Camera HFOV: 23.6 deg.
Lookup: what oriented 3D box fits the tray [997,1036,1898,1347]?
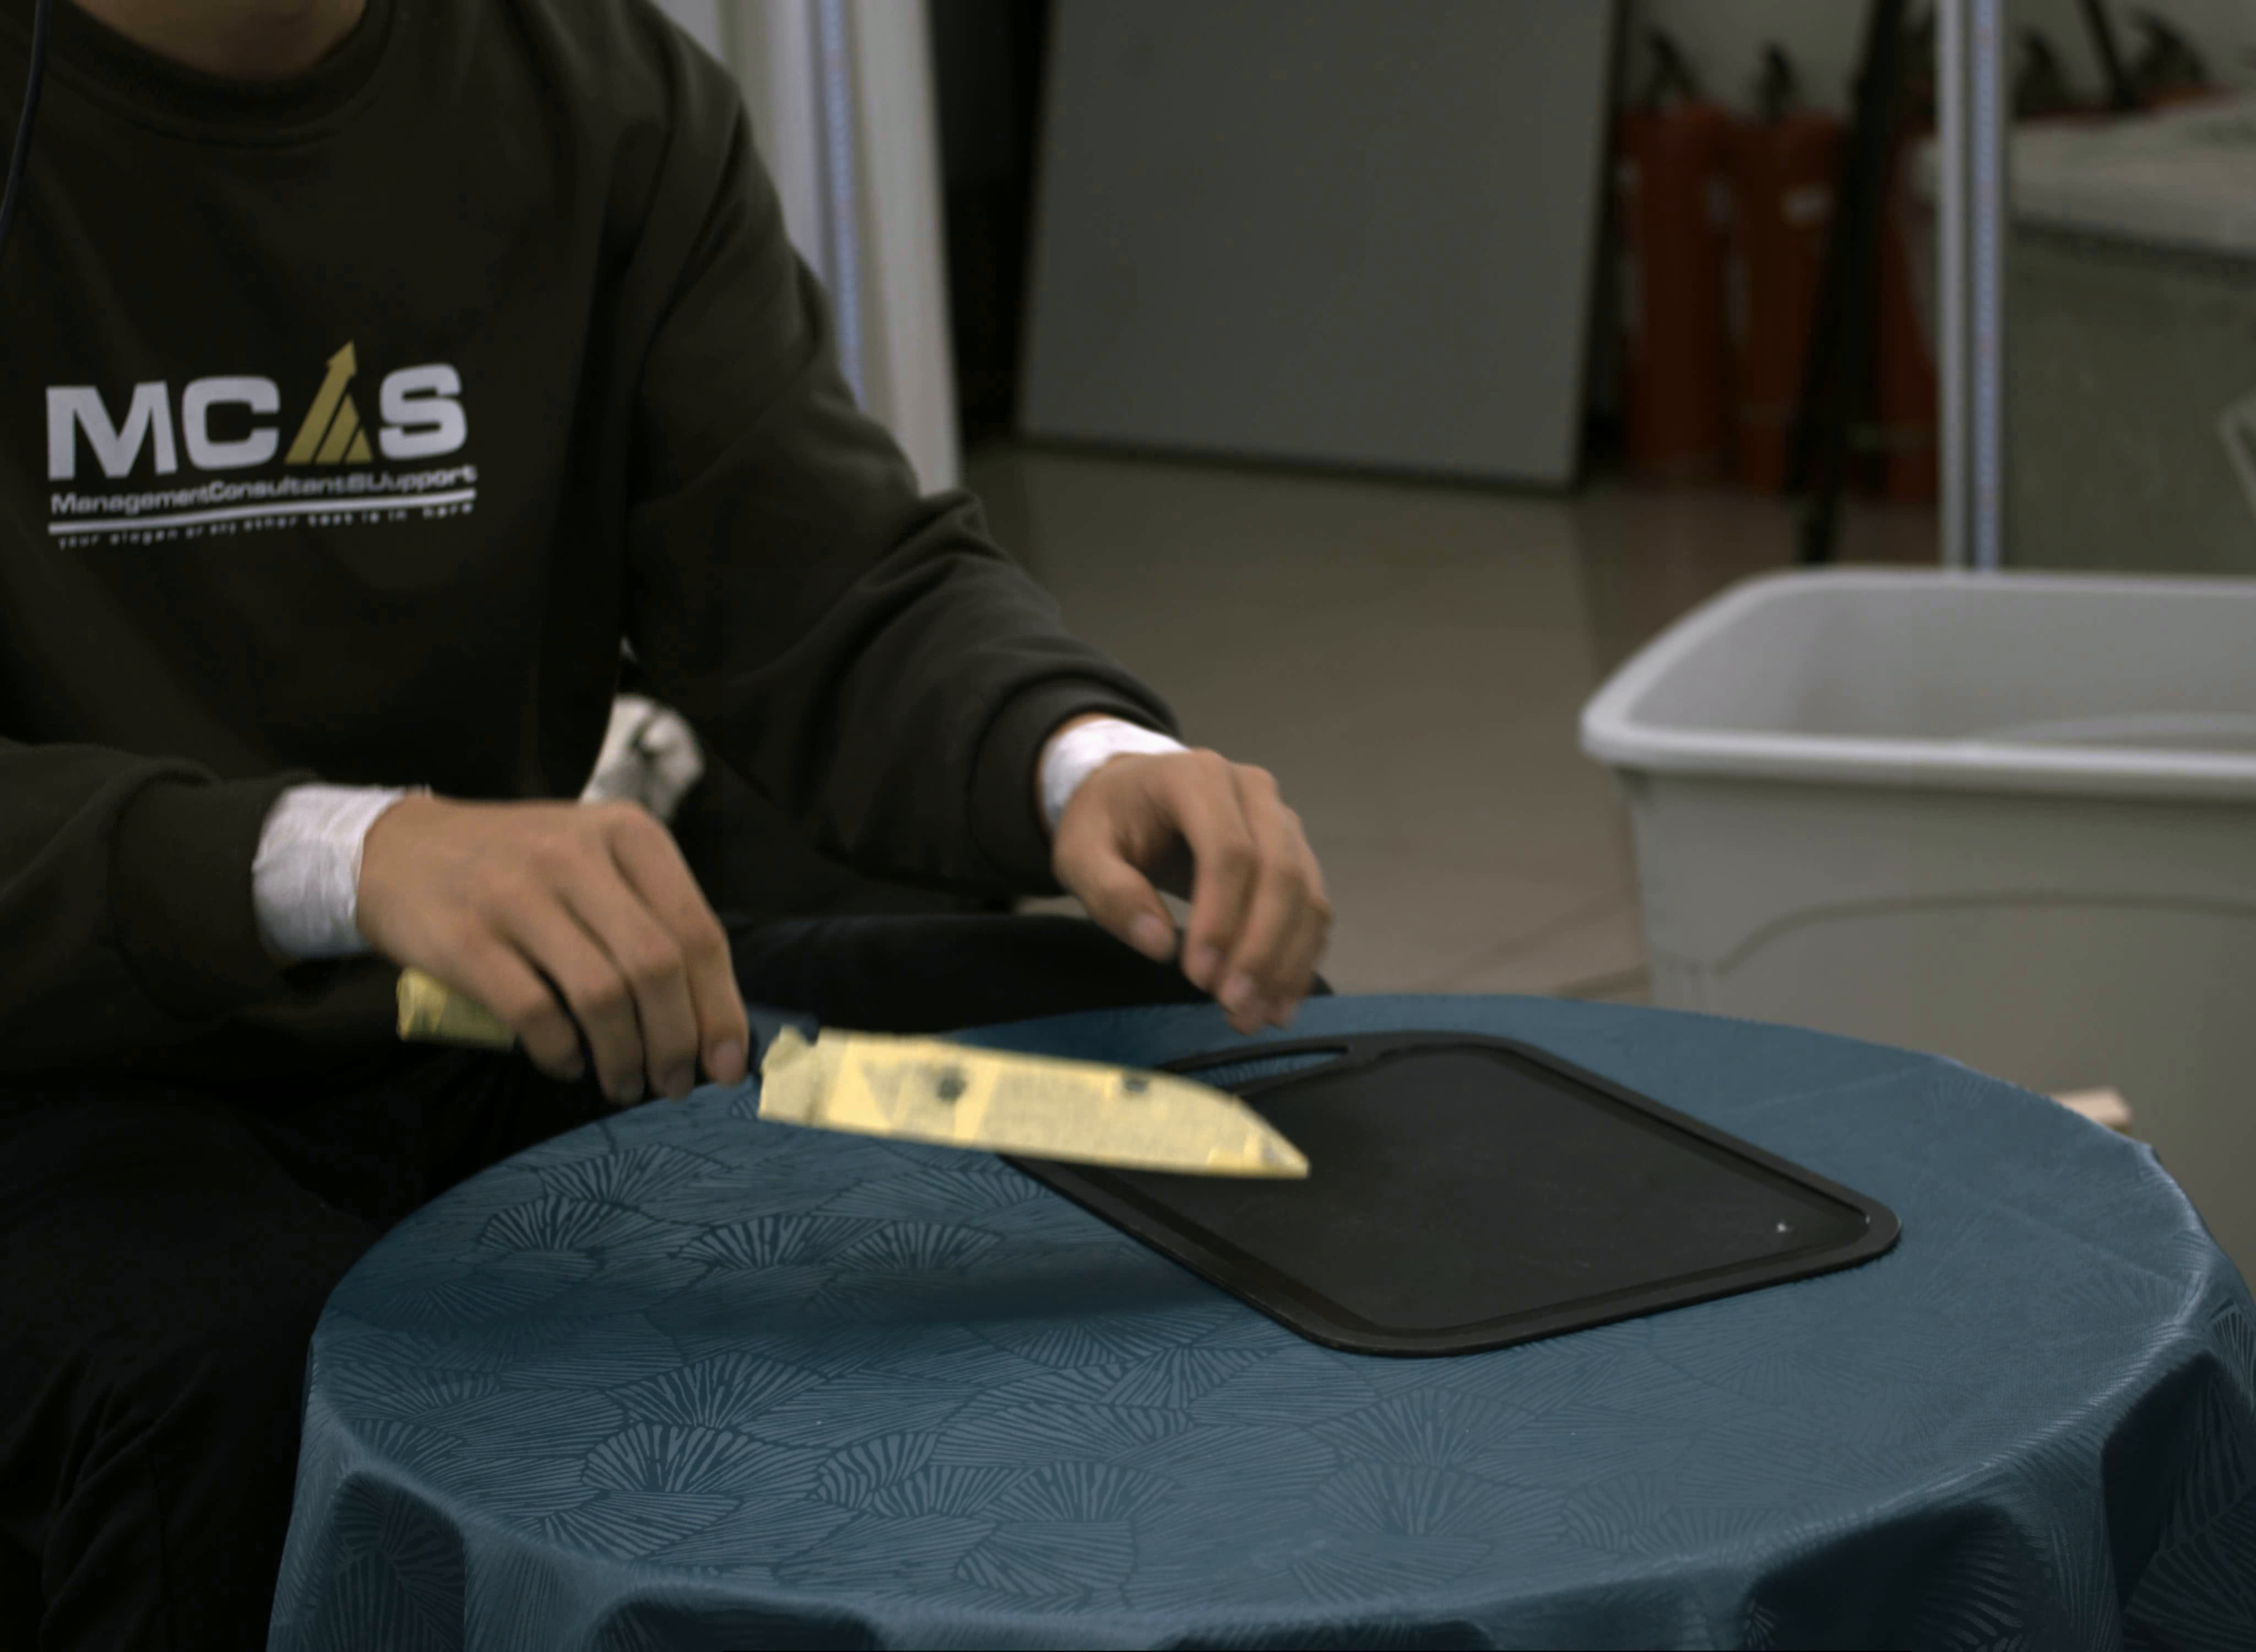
[{"bbox_3d":[0.094,0.113,1.766,0.206,0.010,0.329,-10,15,-23],"label":"tray"}]

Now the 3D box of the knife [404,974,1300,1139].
[{"bbox_3d":[-0.087,0.075,1.688,0.286,0.027,0.081,6,18,4],"label":"knife"}]
